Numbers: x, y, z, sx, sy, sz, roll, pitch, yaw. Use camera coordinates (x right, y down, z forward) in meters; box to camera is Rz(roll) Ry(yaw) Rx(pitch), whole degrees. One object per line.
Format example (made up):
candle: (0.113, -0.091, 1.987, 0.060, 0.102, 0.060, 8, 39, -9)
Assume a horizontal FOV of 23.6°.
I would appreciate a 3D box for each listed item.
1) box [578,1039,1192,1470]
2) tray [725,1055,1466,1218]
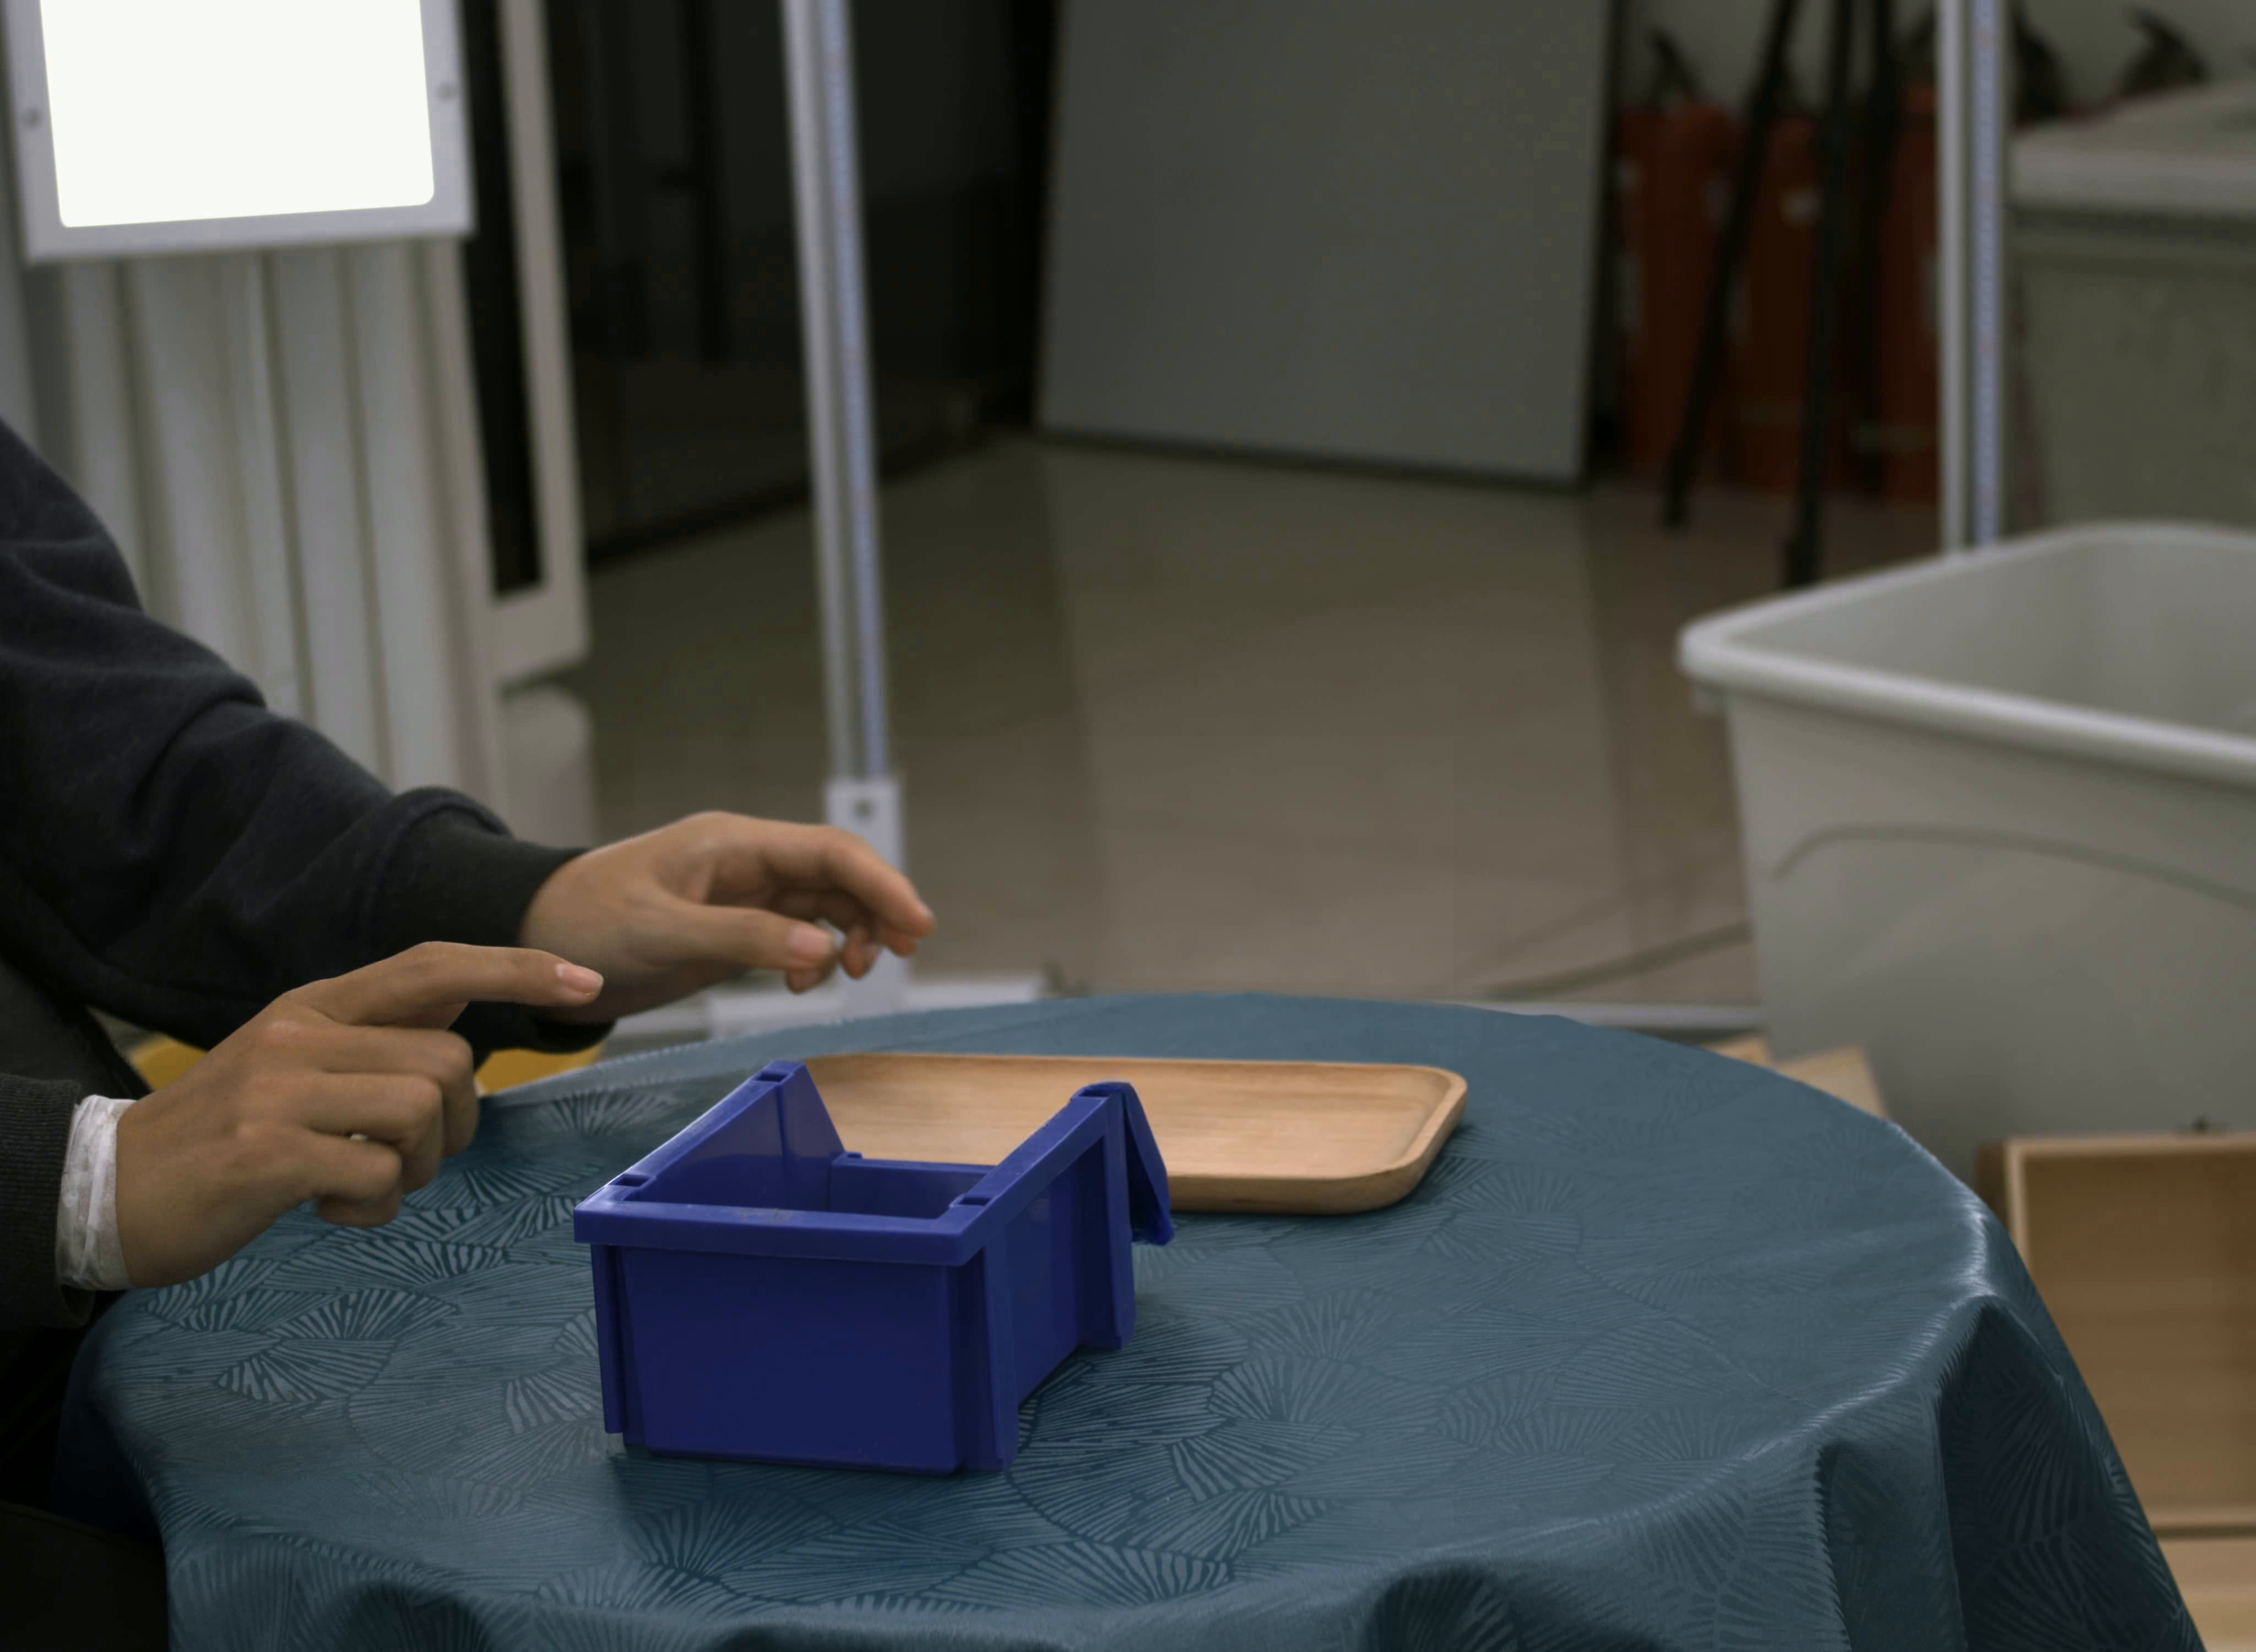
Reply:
box: (-0.070, 0.122, 1.609, 0.124, 0.083, 0.177, 2, 18, 22)
tray: (-0.015, 0.104, 1.809, 0.250, 0.023, 0.129, 0, 11, 17)
